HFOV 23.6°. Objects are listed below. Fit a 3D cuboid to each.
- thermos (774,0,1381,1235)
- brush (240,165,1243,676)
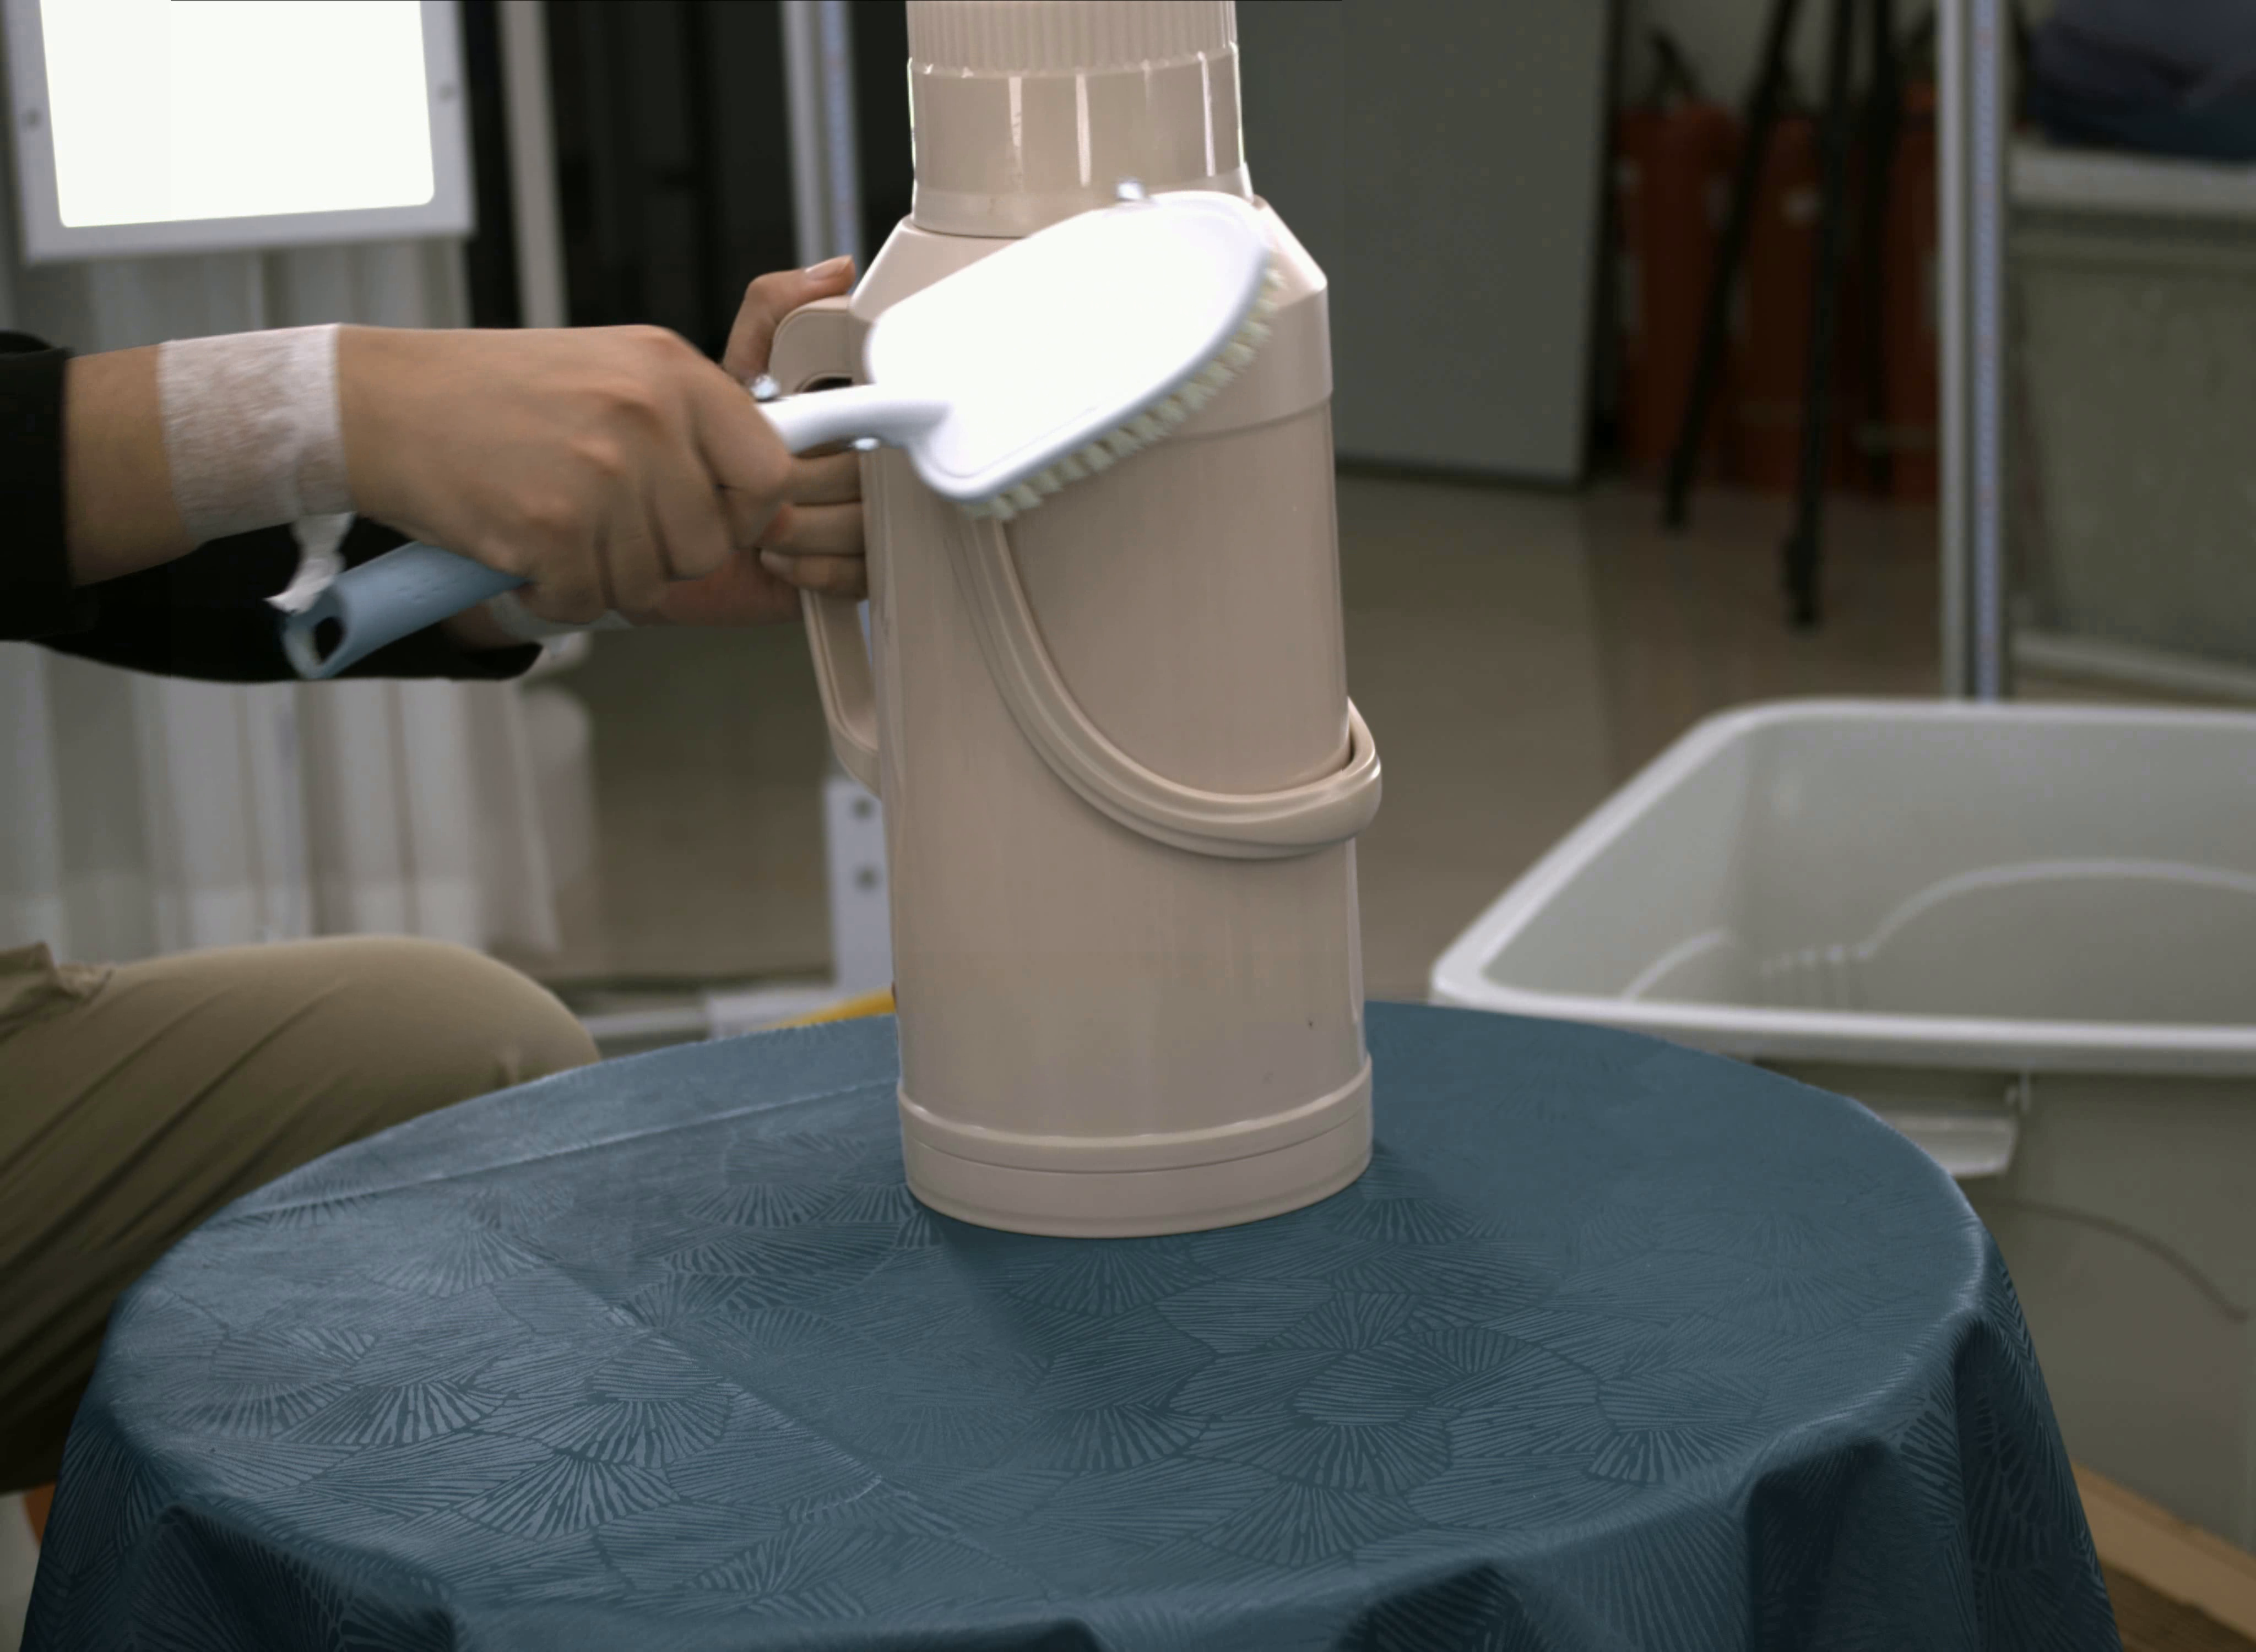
[{"bbox_3d":[-0.019,-0.082,1.764,0.208,0.410,0.173,4,17,30],"label":"thermos"},{"bbox_3d":[-0.114,-0.113,1.625,0.322,0.084,0.084,-26,33,-5],"label":"brush"}]
